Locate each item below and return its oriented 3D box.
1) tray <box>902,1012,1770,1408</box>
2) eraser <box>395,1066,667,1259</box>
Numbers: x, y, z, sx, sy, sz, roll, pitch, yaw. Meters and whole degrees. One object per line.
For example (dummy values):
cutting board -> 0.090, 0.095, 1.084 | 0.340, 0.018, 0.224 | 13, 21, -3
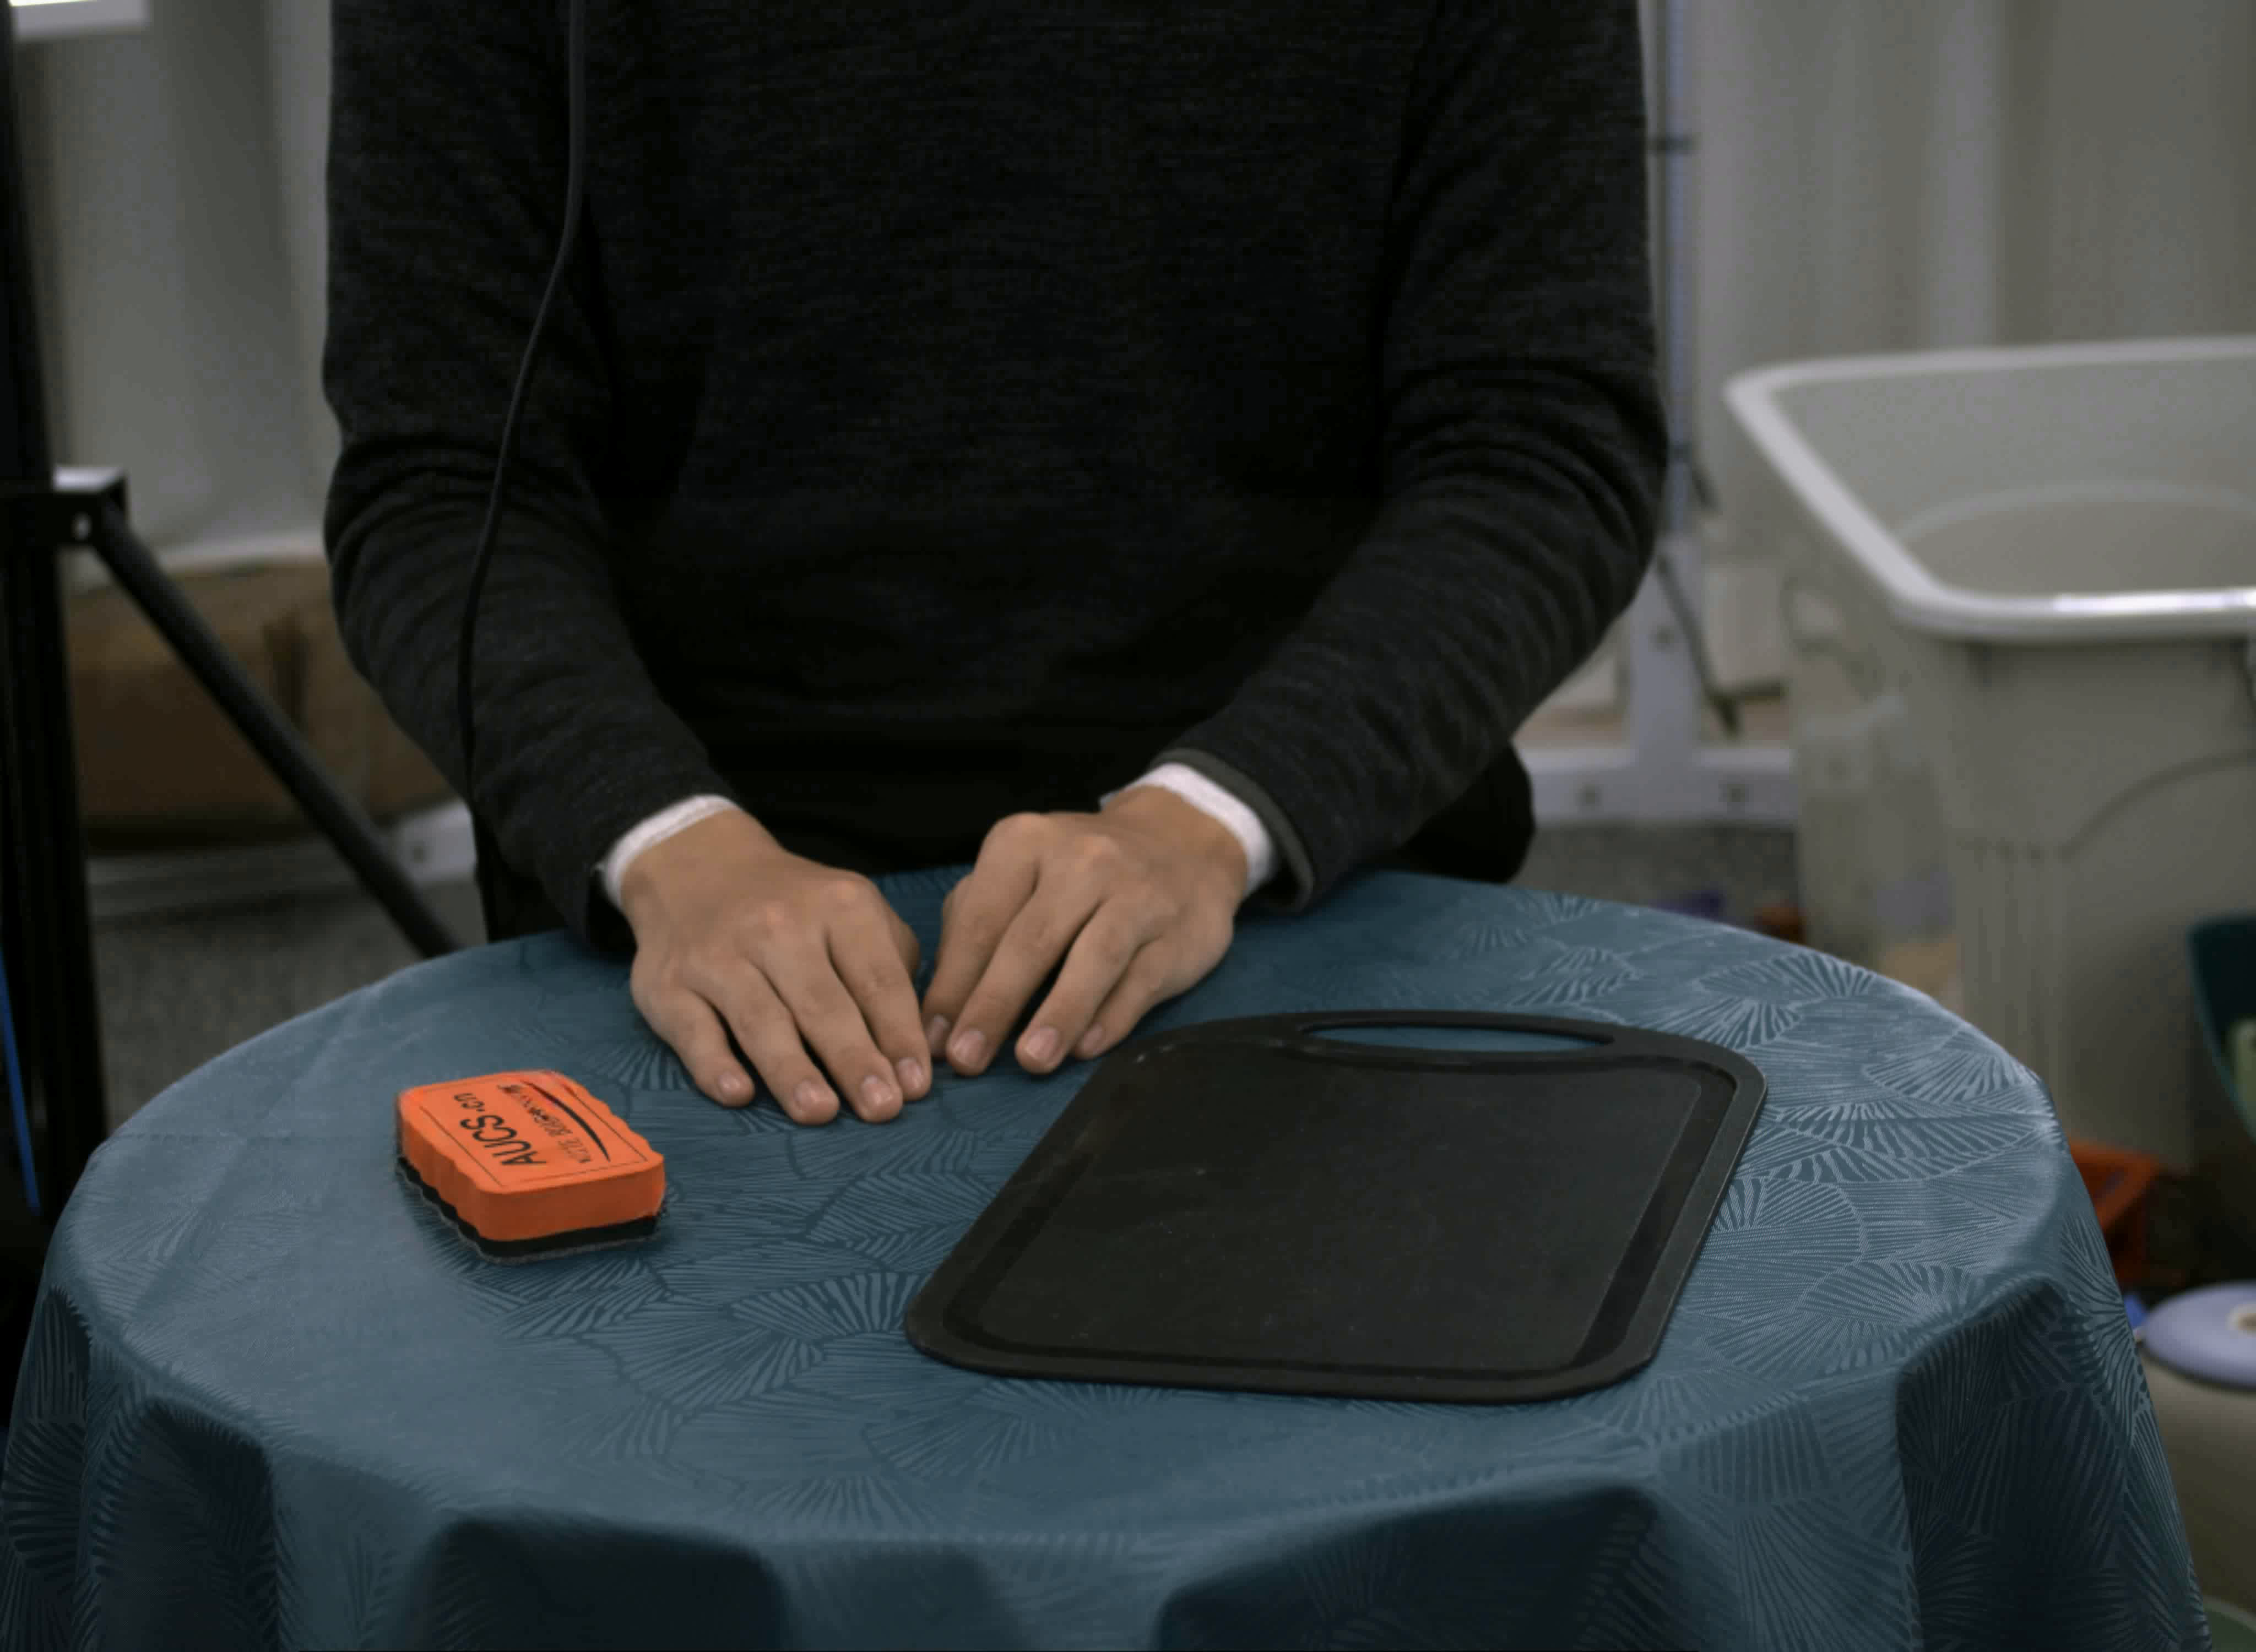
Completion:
tray -> 0.069, 0.104, 1.549 | 0.213, 0.010, 0.322 | 2, 16, 16
eraser -> -0.177, 0.099, 1.575 | 0.058, 0.023, 0.110 | -6, 16, -21
